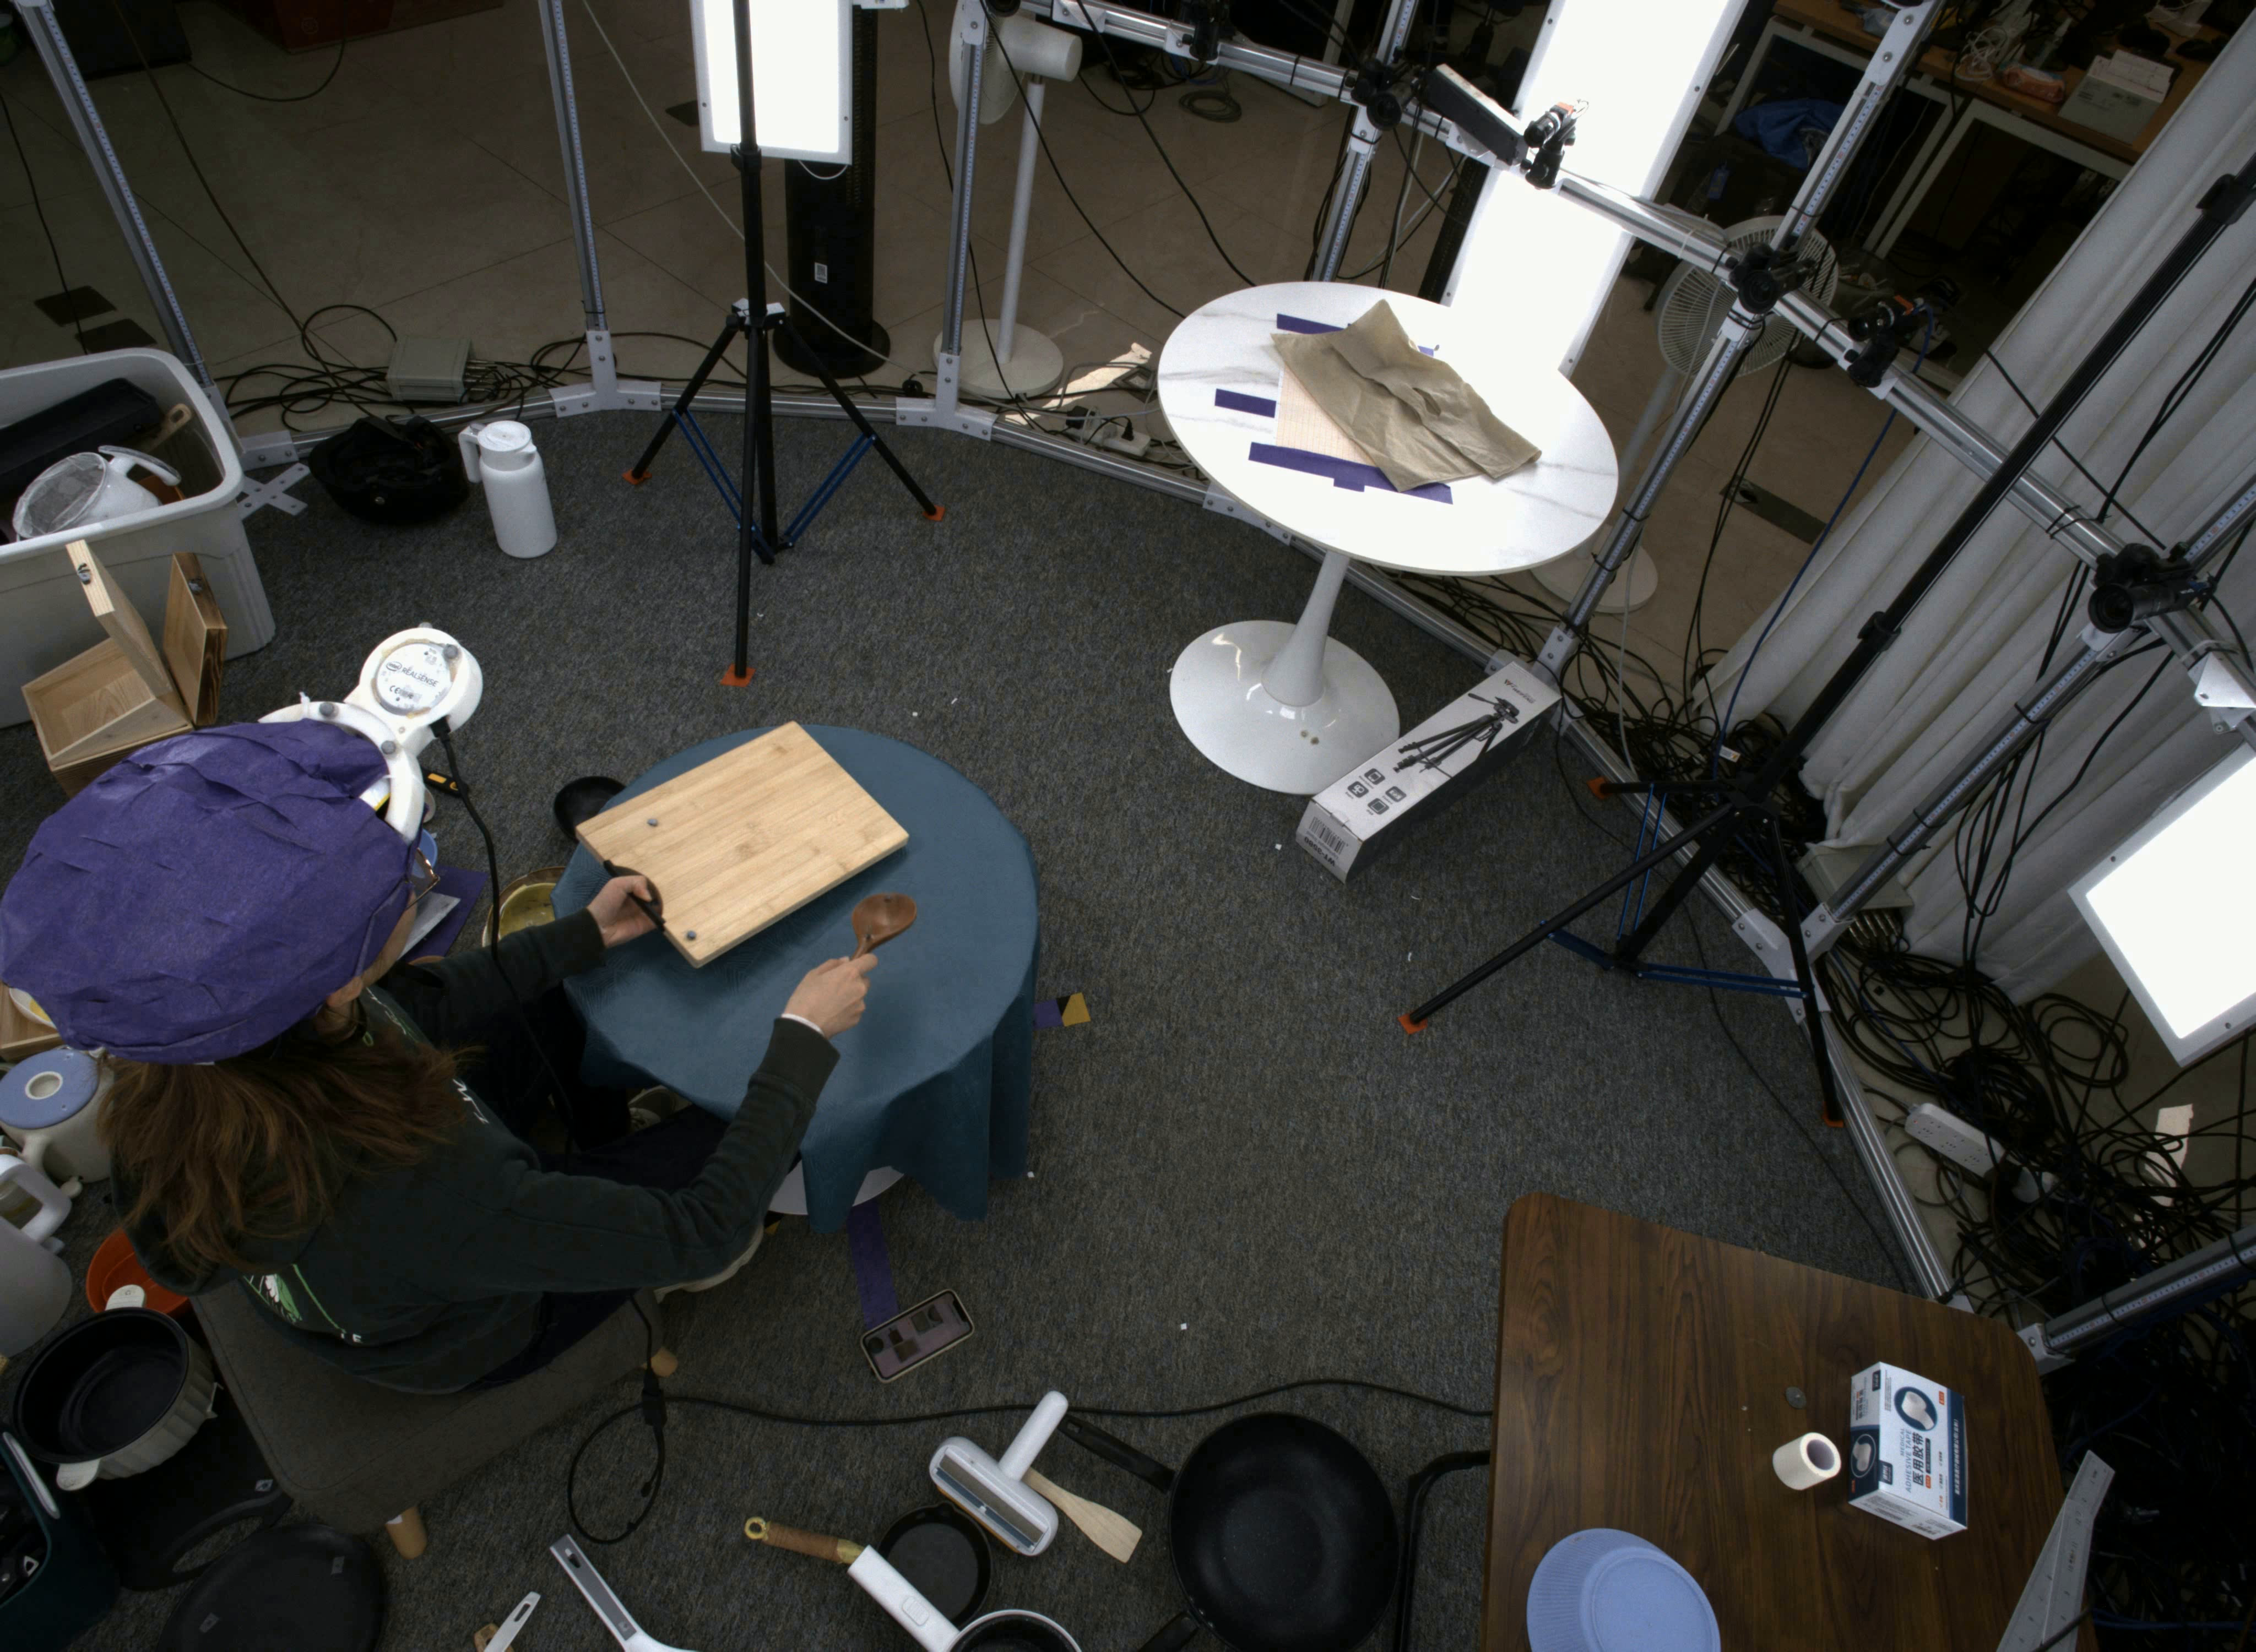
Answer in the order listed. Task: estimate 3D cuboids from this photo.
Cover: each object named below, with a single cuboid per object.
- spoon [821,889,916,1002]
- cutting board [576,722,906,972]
[{"bbox_3d":[-0.299,0.131,1.467,0.074,0.018,0.213,12,30,5],"label":"spoon"},{"bbox_3d":[-0.485,0.013,1.638,0.246,0.024,0.350,43,47,13],"label":"cutting board"}]
